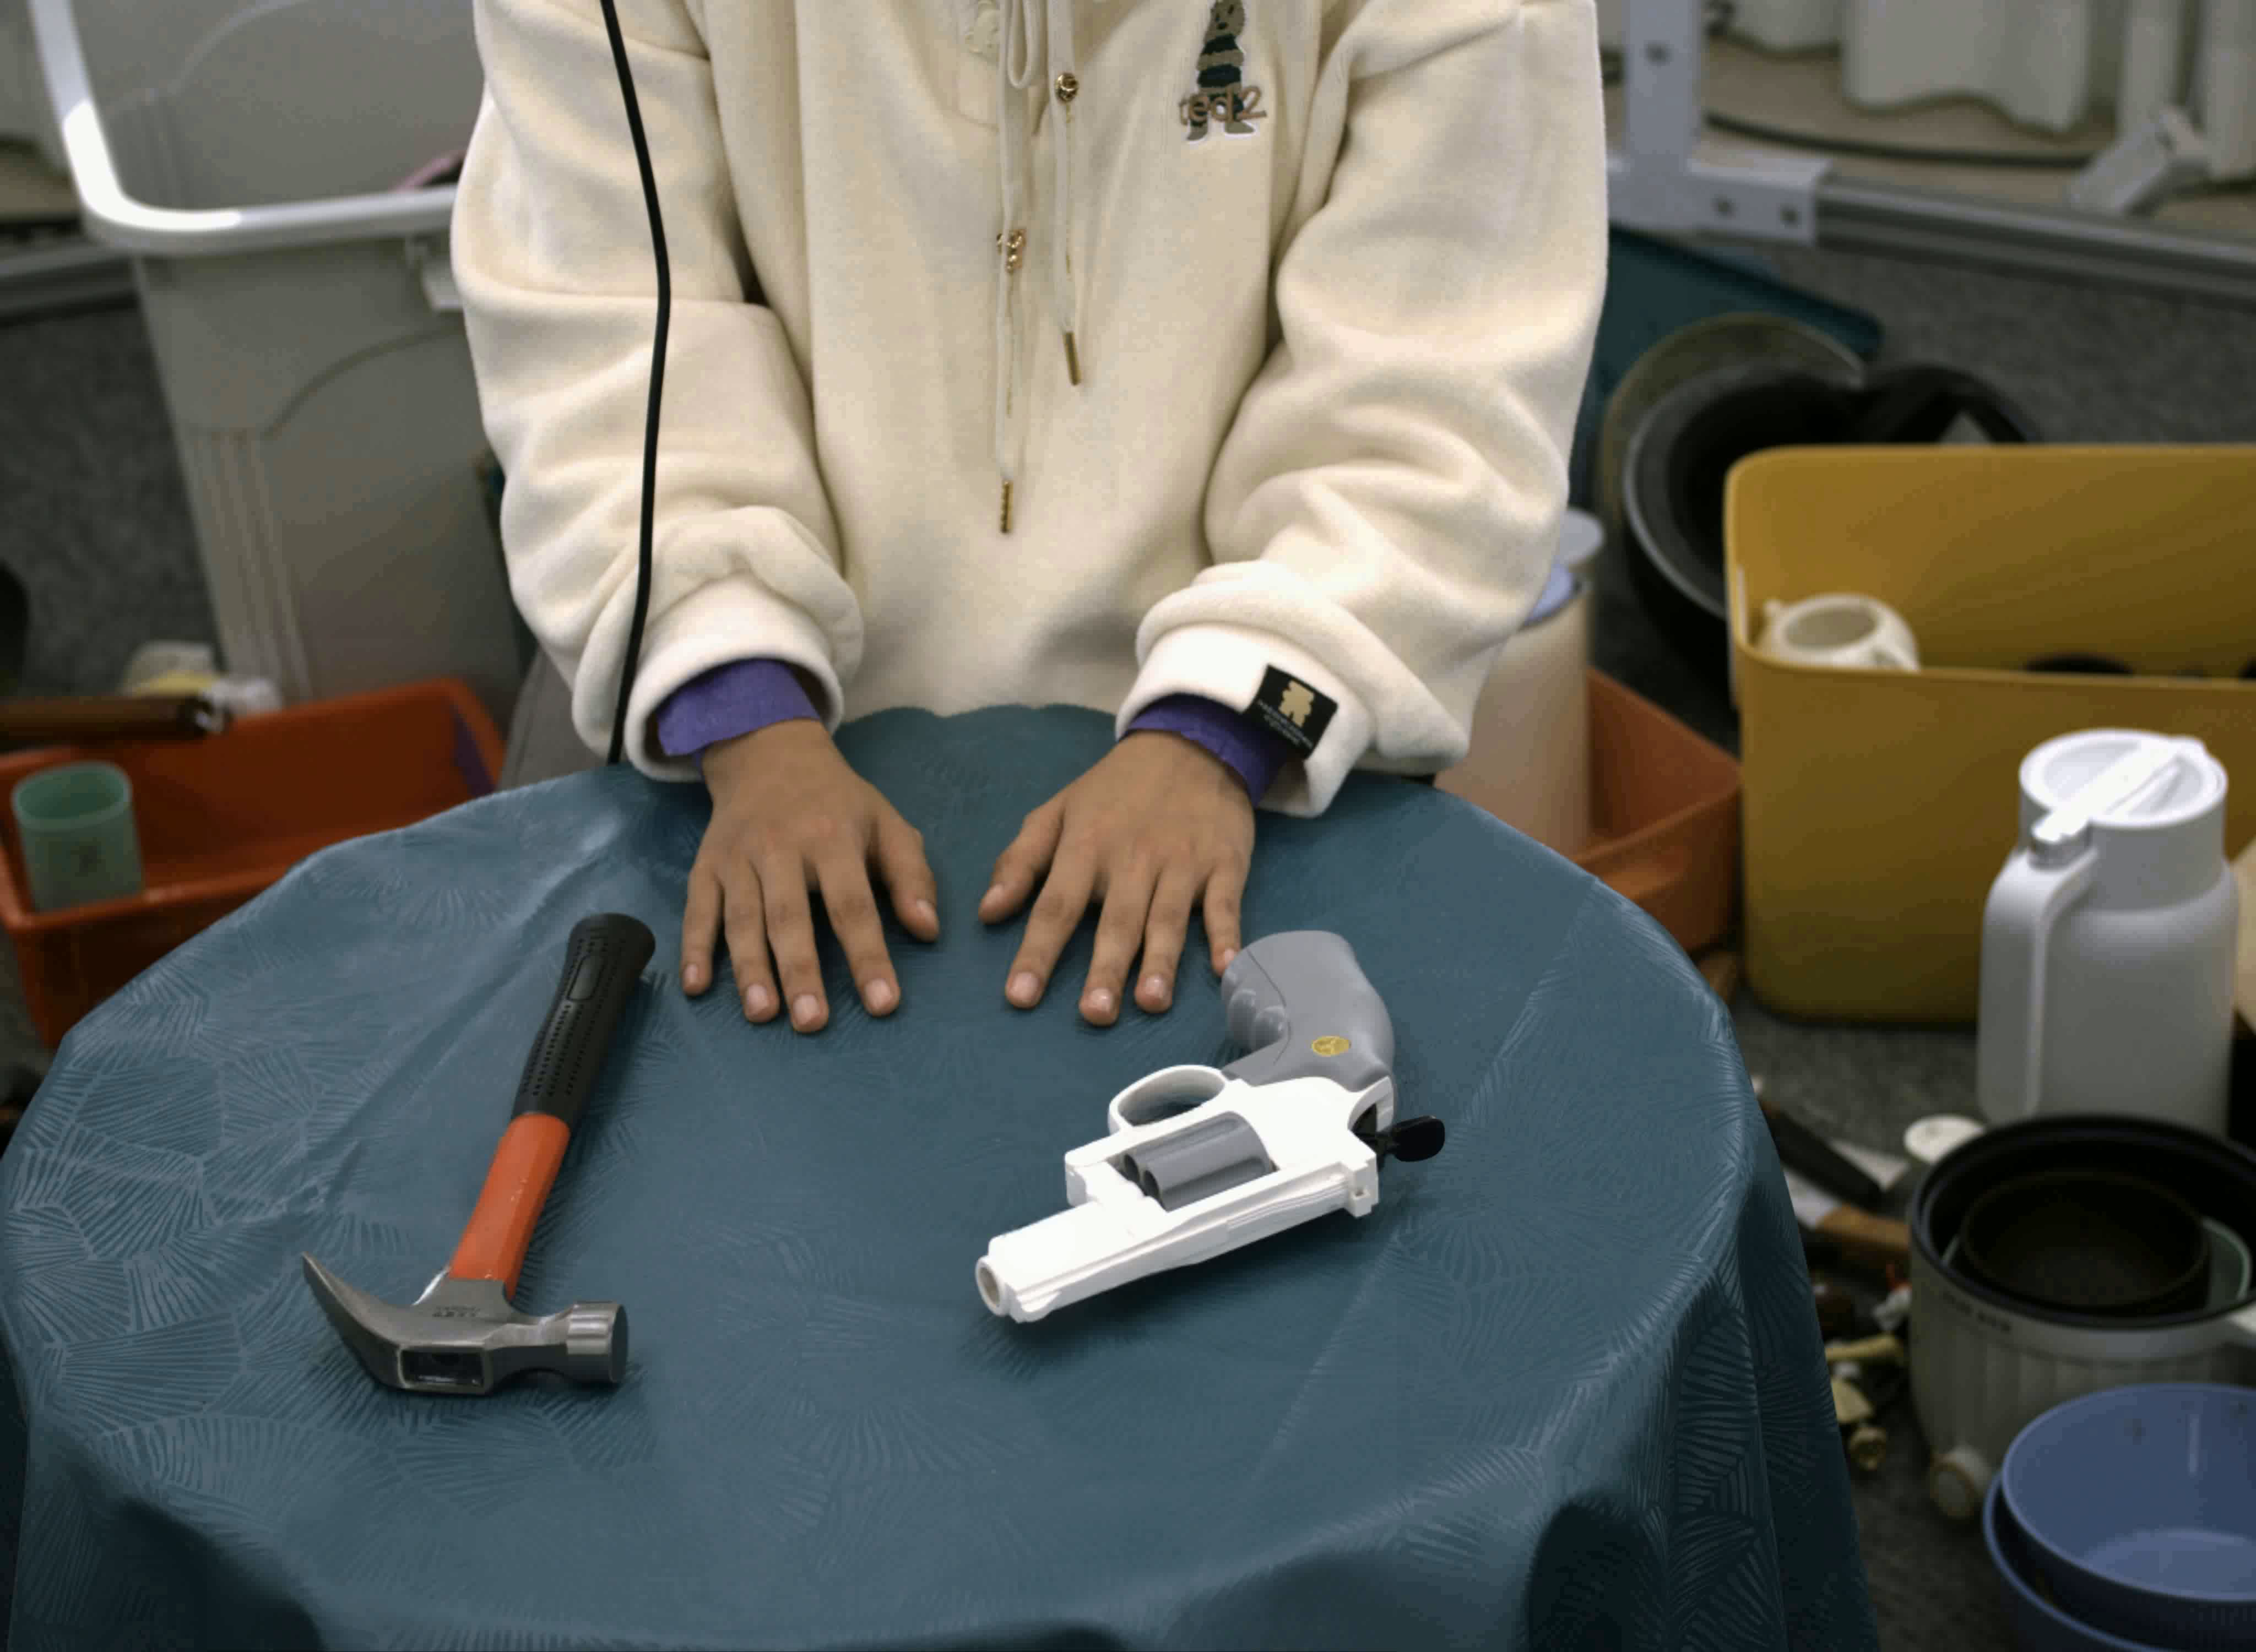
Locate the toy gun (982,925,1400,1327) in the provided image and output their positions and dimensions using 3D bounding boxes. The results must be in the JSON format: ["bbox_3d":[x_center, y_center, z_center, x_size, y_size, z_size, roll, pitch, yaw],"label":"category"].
[{"bbox_3d":[0.019,0.099,1.861,0.210,0.038,0.142,-19,33,-28],"label":"toy gun"}]

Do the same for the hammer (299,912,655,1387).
[{"bbox_3d":[-0.201,0.104,1.884,0.110,0.026,0.282,-7,26,11],"label":"hammer"}]
